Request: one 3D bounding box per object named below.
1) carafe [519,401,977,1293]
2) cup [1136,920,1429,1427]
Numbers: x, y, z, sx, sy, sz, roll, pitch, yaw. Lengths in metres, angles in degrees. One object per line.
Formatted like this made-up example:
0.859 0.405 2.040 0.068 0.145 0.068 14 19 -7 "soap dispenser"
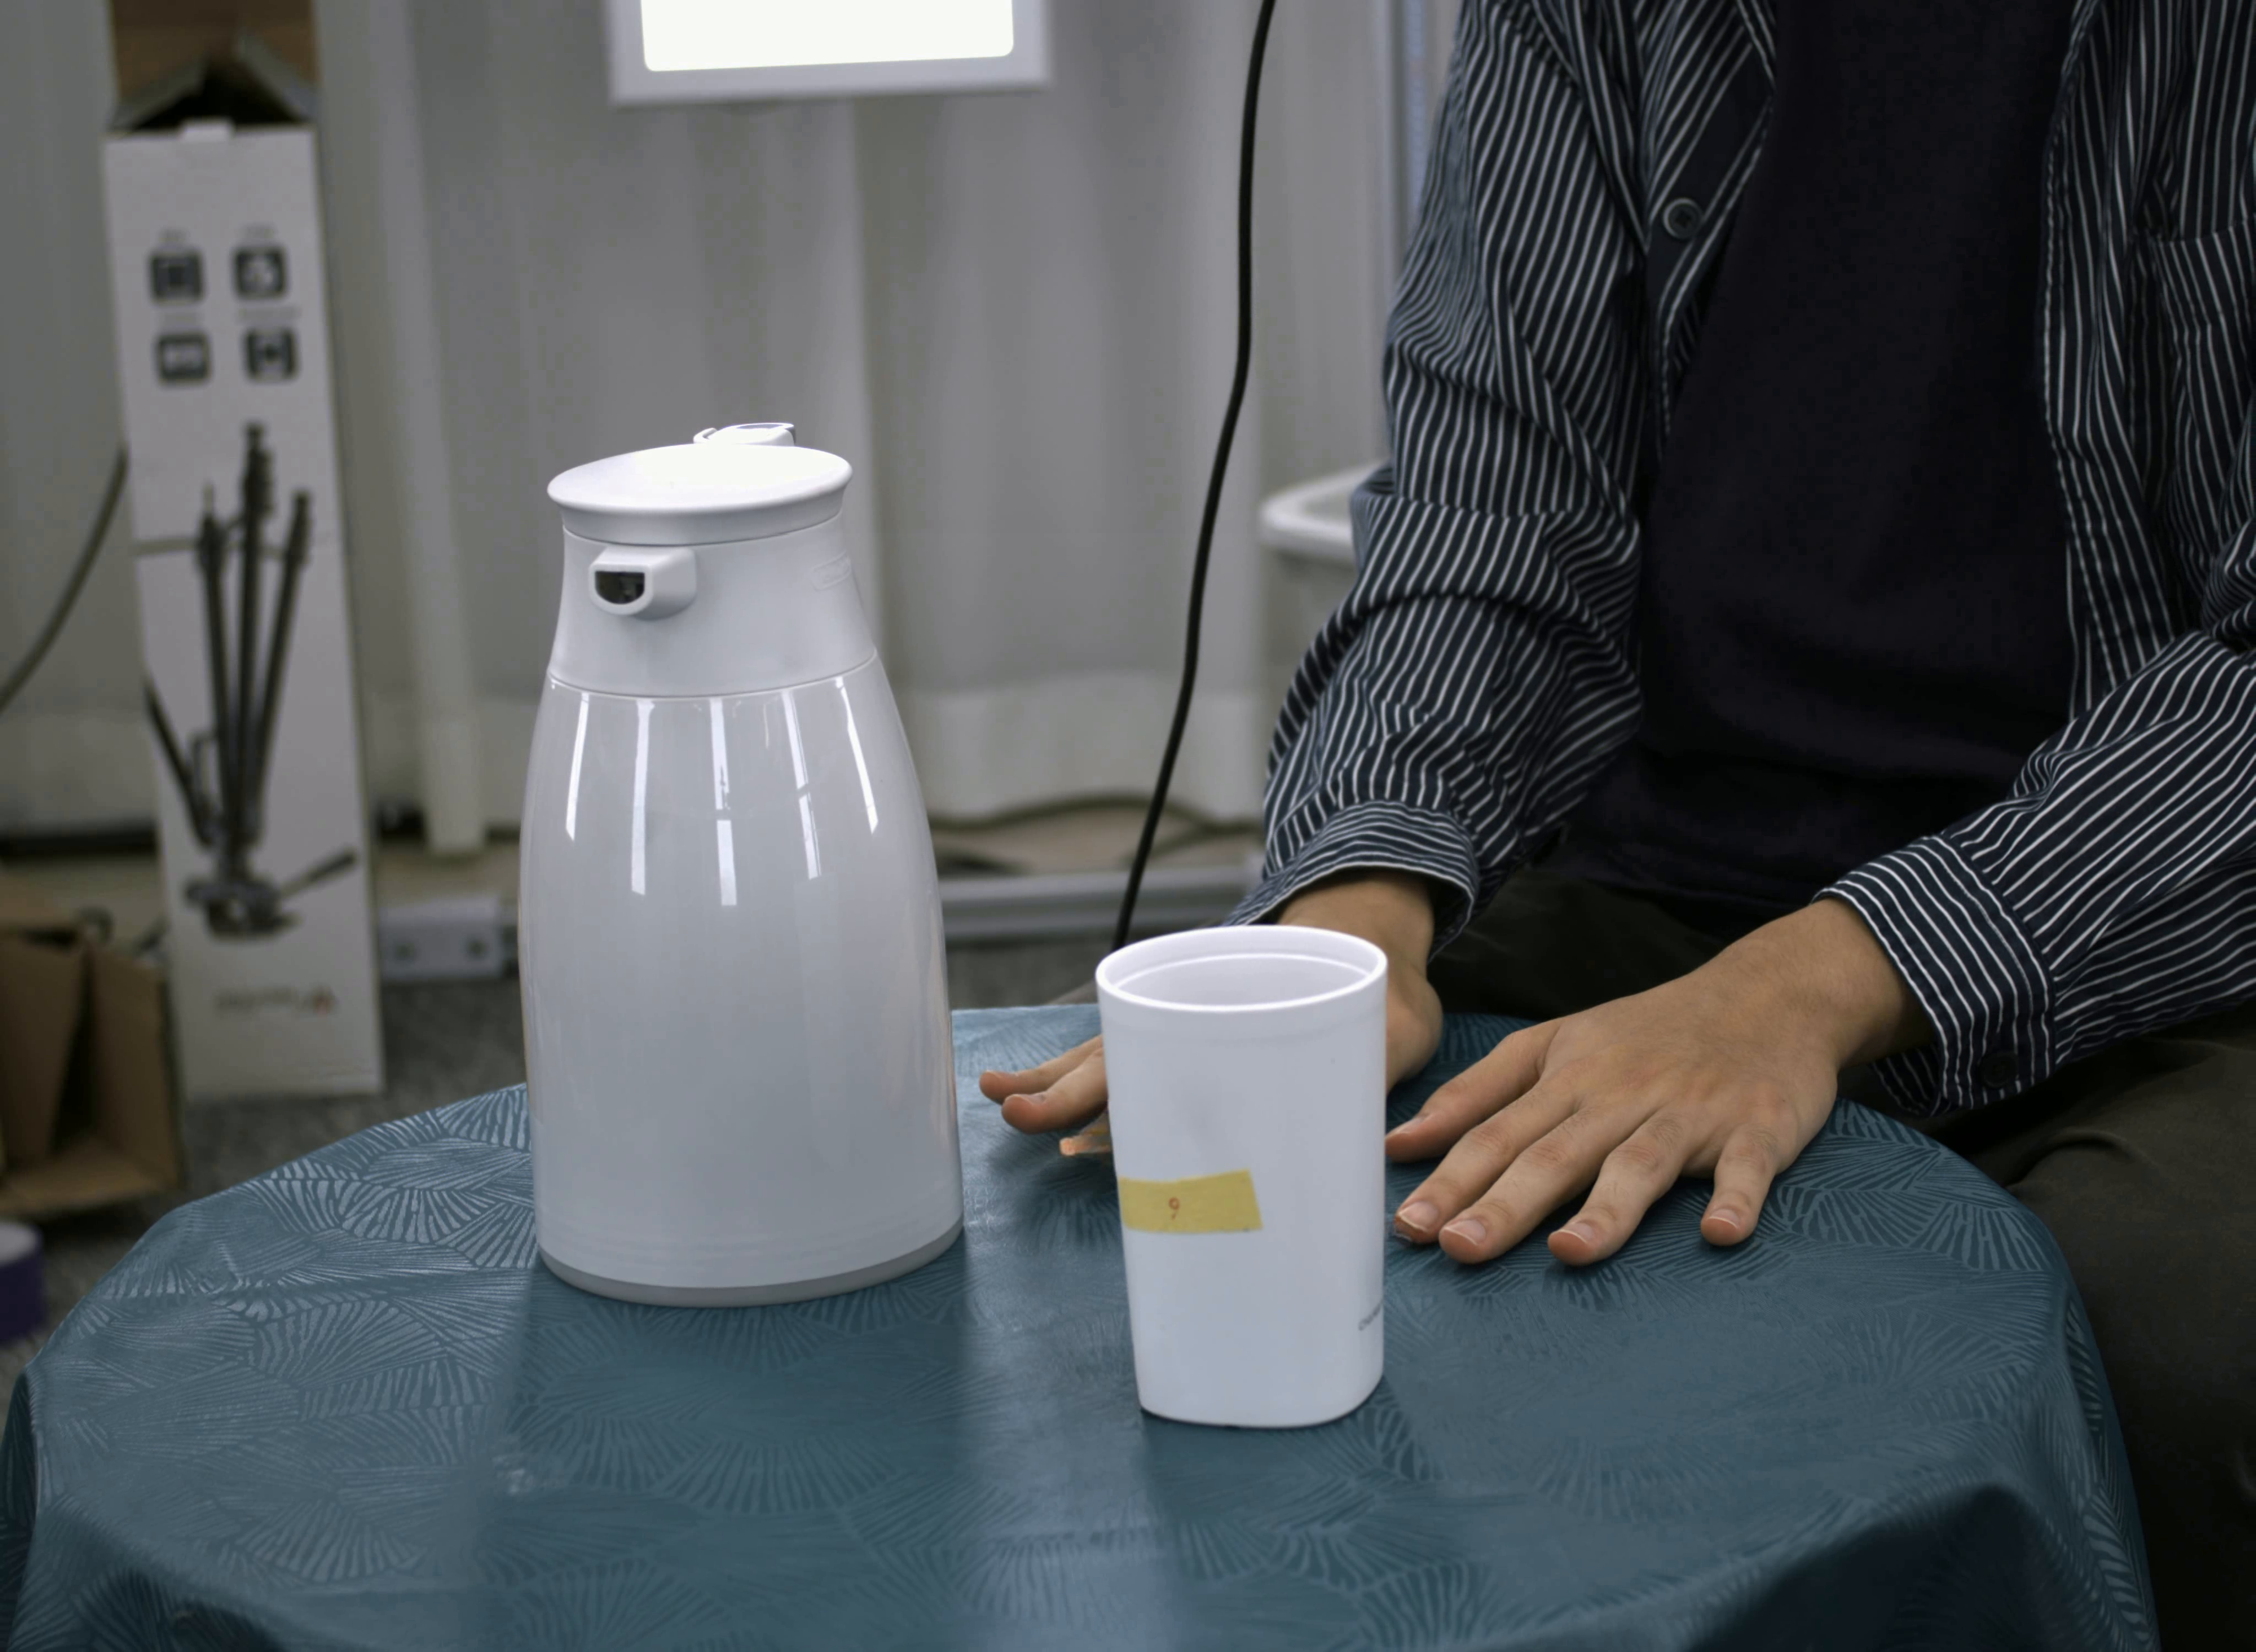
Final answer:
-0.120 -0.003 1.683 0.132 0.247 0.168 -2 16 13 "carafe"
0.046 0.097 1.521 0.081 0.125 0.082 -3 13 1 "cup"
